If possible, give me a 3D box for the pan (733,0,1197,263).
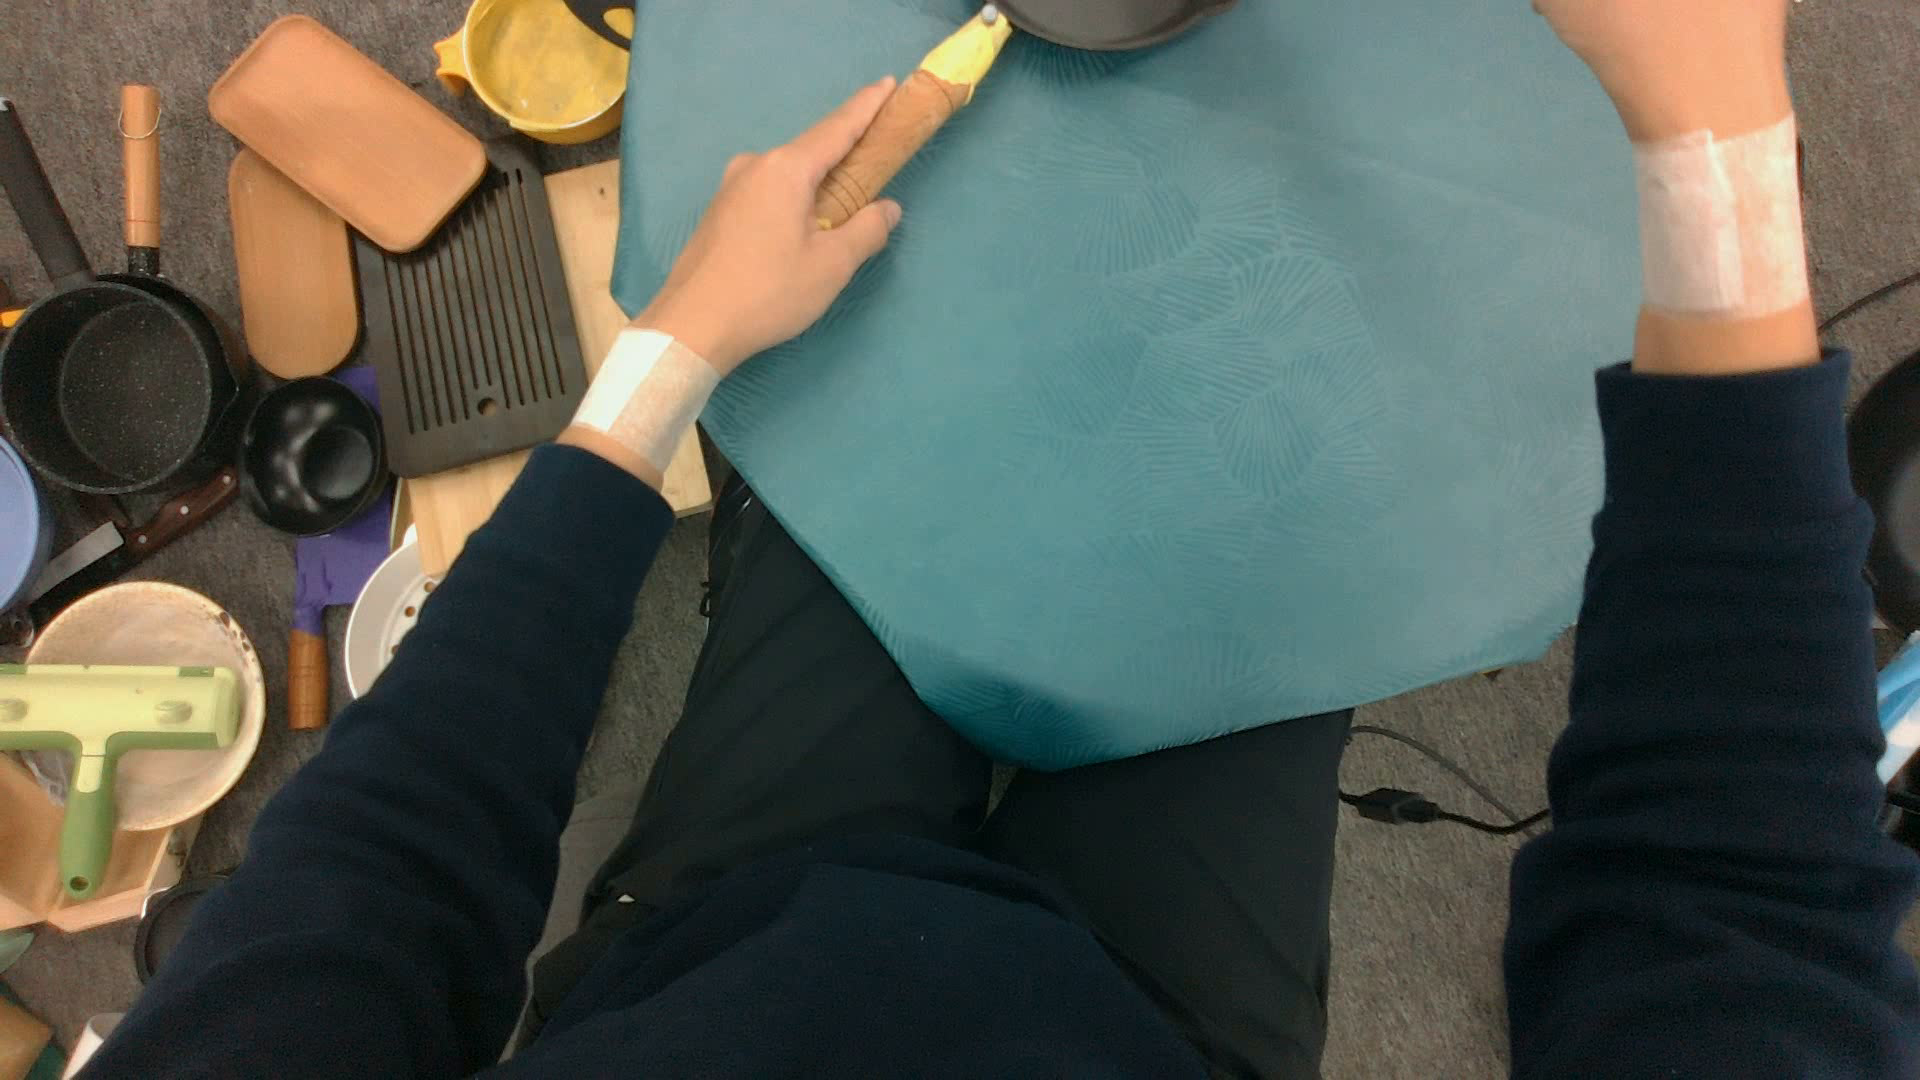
[{"bbox_3d":[0.000,-0.257,0.673,0.169,0.049,0.324,41,83,0],"label":"pan"}]
